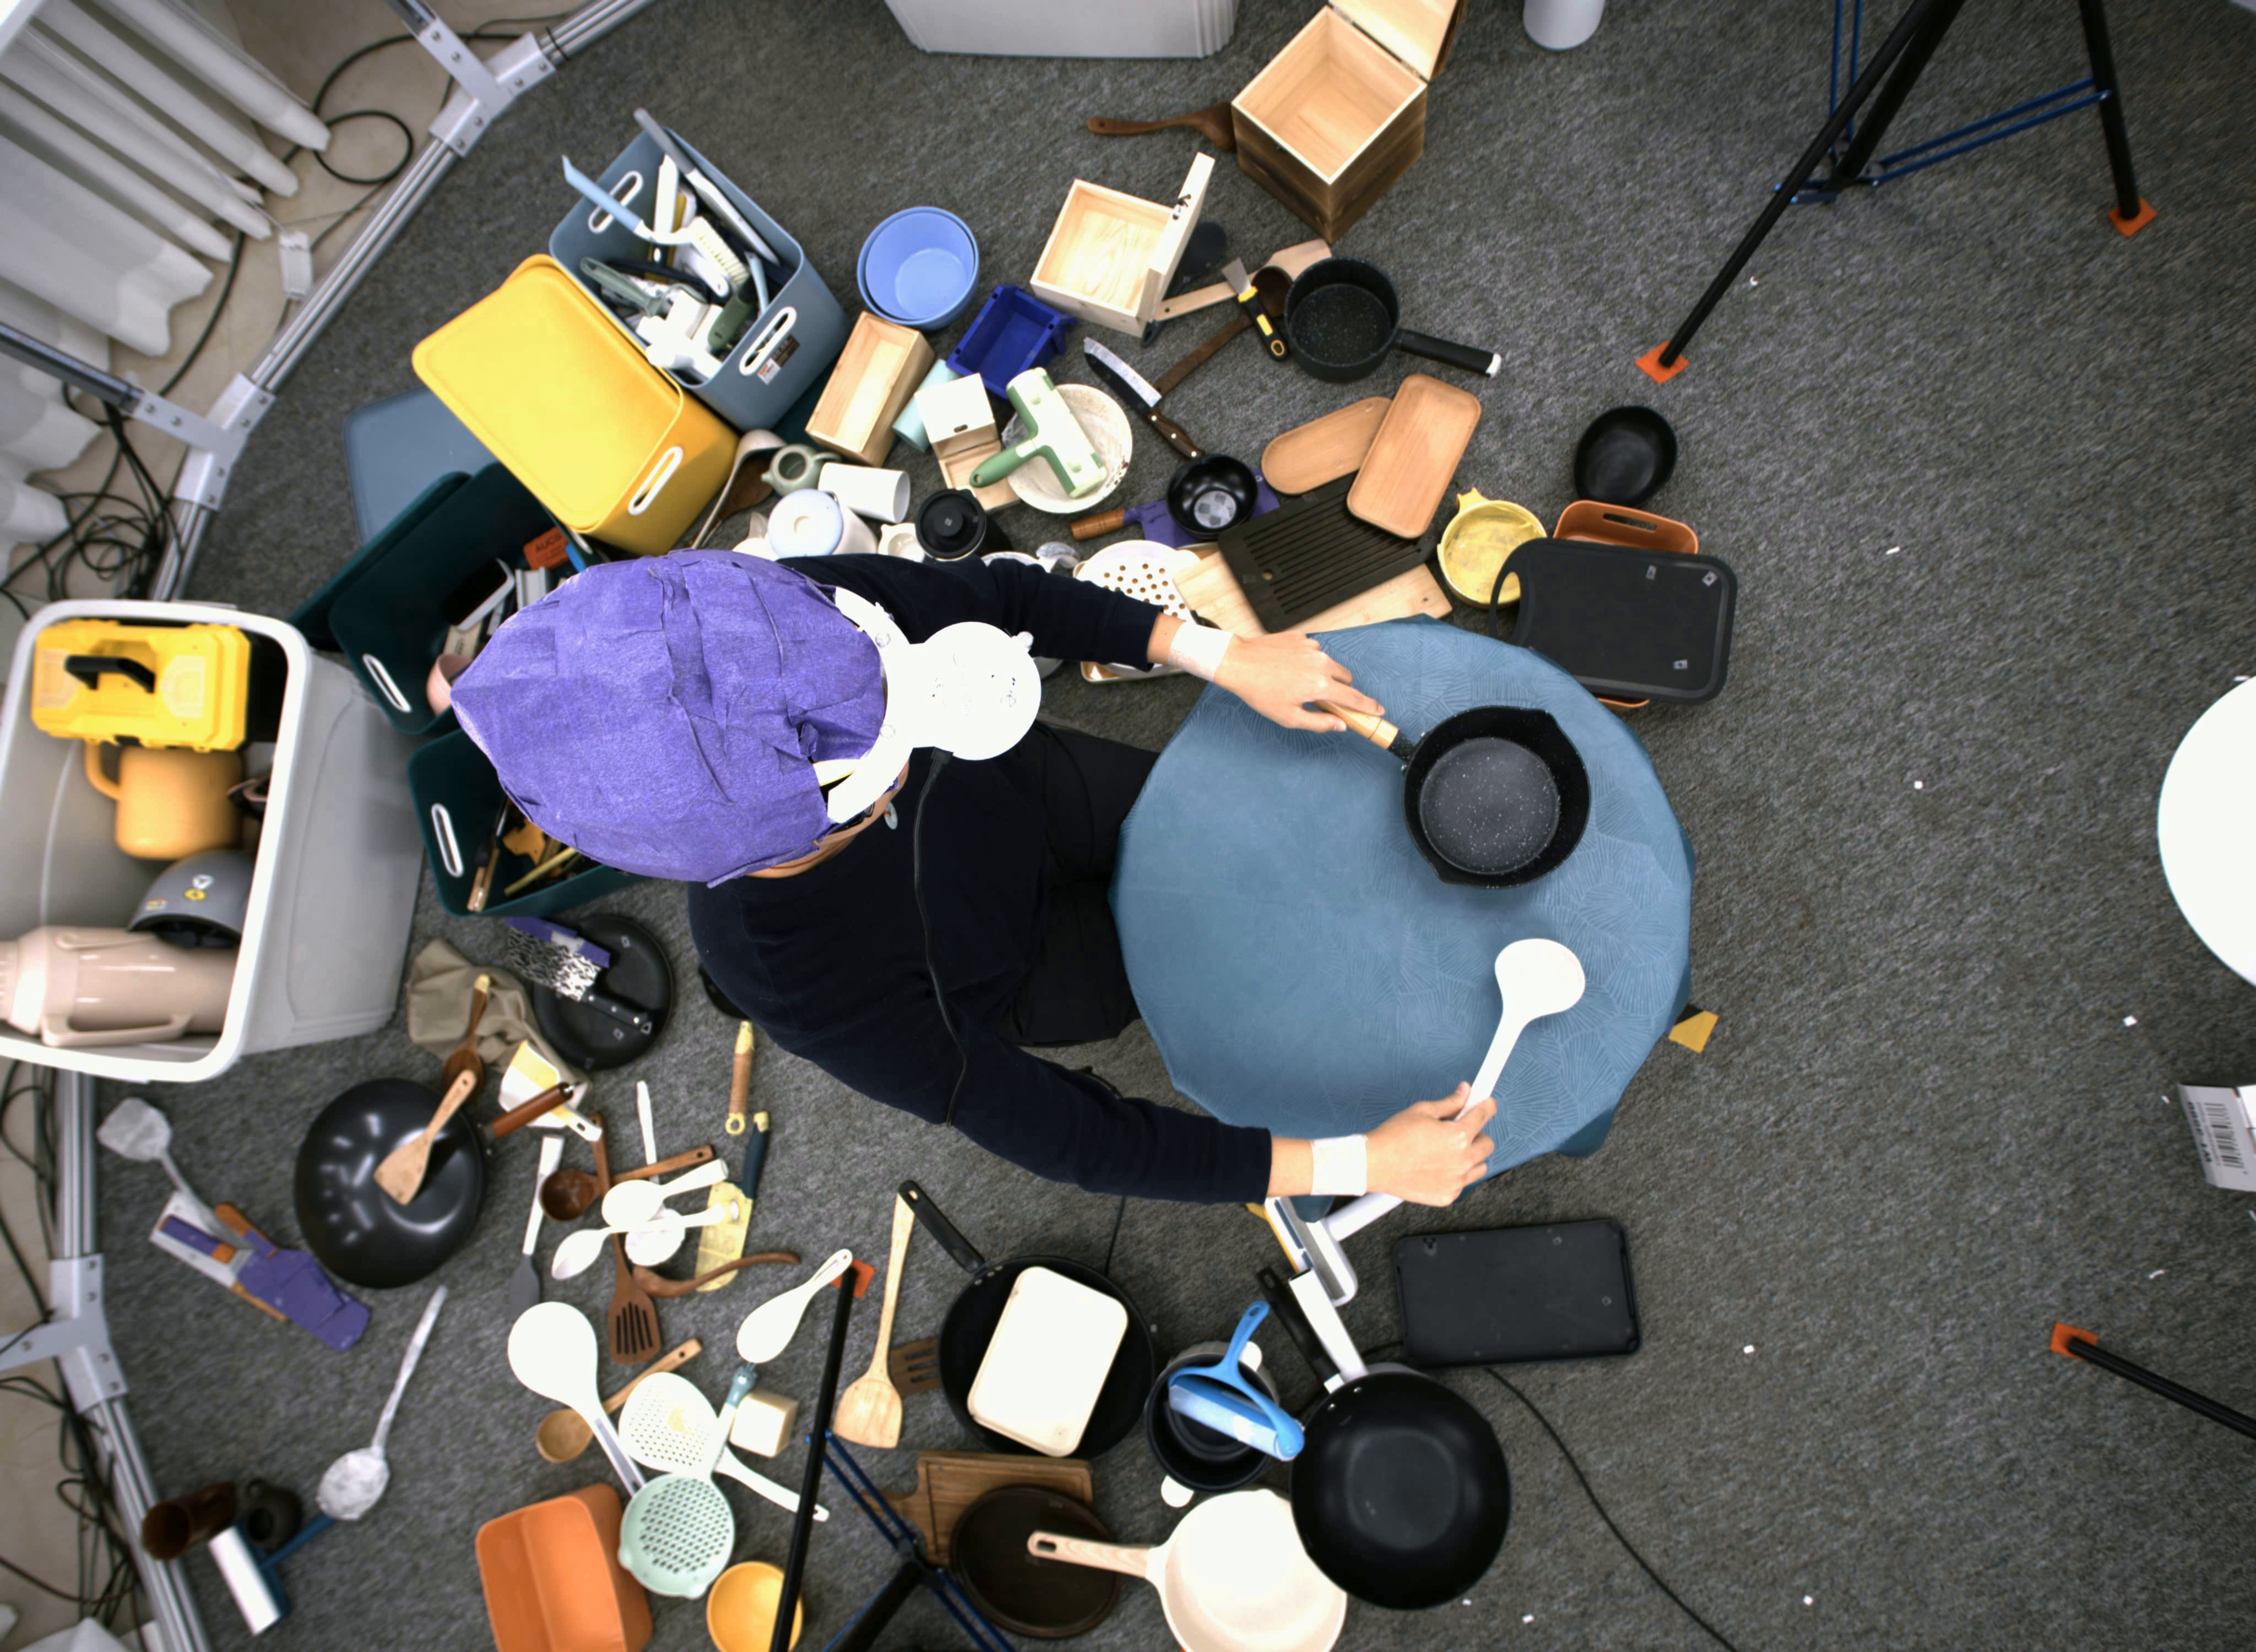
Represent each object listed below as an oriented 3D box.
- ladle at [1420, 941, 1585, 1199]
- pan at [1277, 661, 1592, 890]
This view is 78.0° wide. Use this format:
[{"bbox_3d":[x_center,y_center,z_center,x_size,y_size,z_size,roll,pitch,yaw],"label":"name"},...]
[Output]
[{"bbox_3d":[0.356,0.233,1.332,0.089,0.070,0.270,32,71,-2],"label":"ladle"},{"bbox_3d":[0.303,-0.067,1.407,0.342,0.108,0.208,30,93,9],"label":"pan"}]
